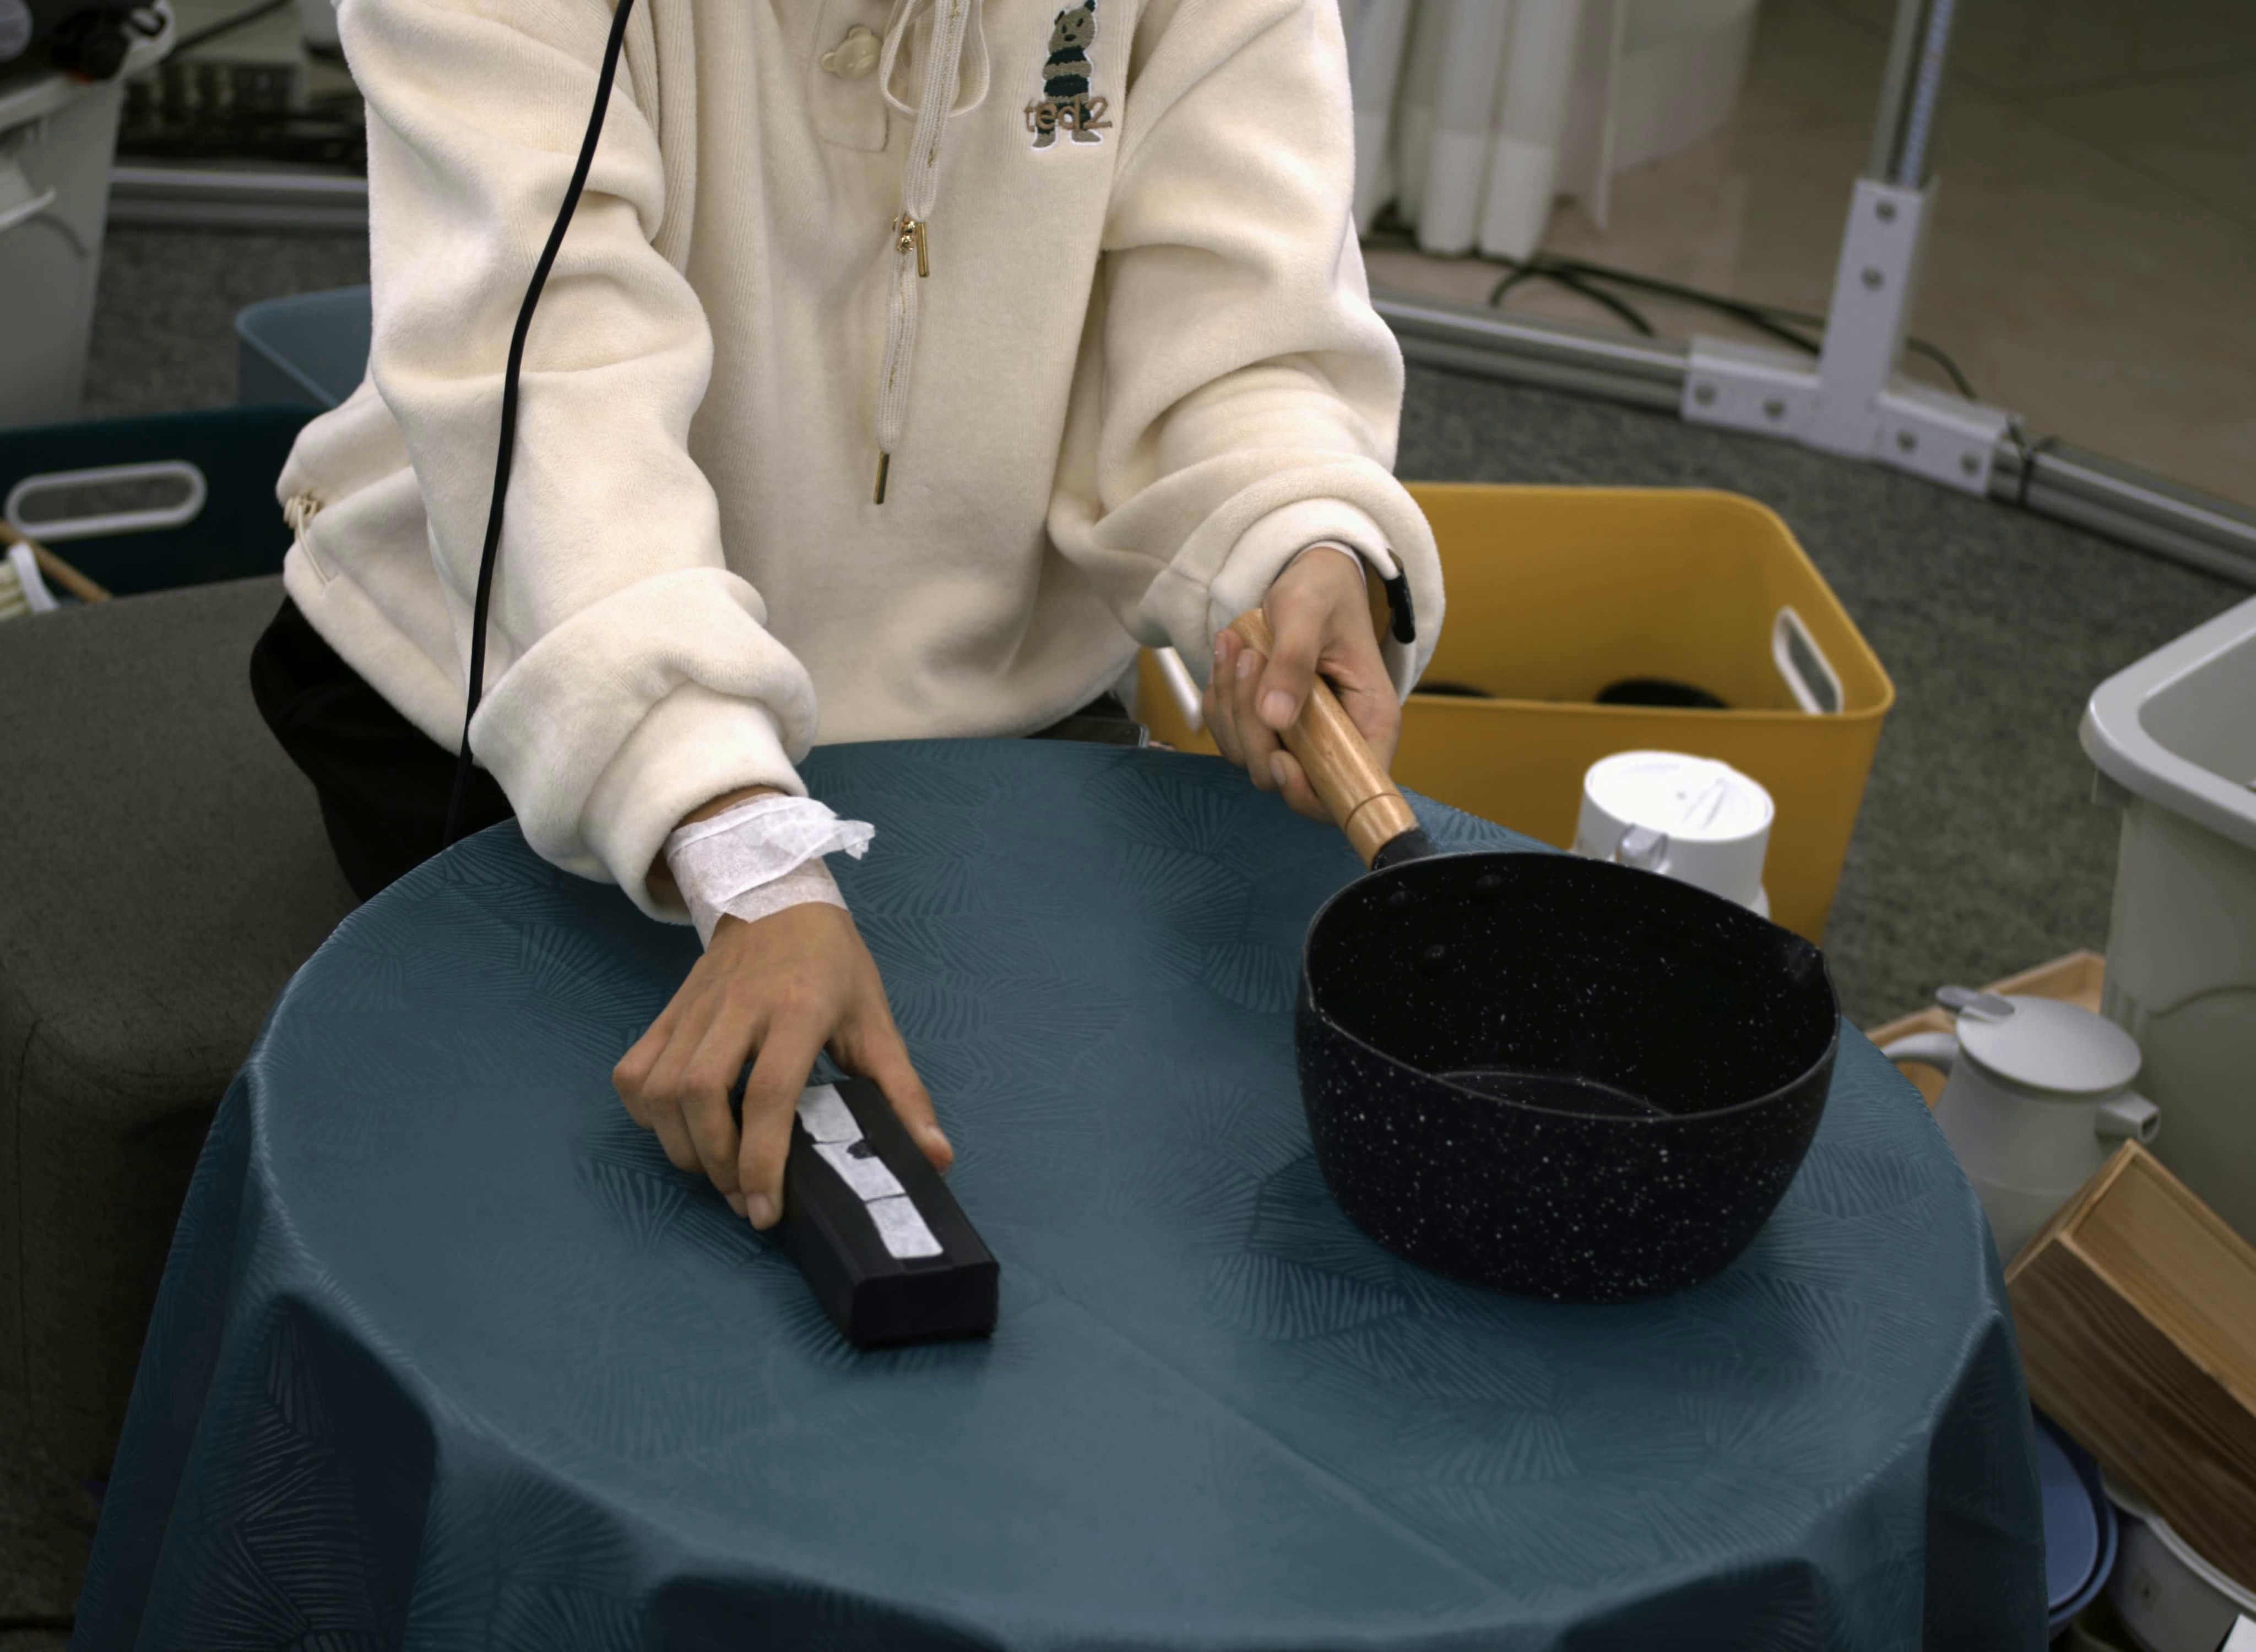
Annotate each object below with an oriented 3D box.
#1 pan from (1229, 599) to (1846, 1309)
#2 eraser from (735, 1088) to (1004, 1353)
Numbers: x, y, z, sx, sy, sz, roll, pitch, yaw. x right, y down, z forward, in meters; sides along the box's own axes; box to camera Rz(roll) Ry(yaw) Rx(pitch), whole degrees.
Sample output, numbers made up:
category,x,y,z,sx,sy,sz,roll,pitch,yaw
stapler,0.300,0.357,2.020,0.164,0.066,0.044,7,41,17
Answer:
category,x,y,z,sx,sy,sz,roll,pitch,yaw
pan,0.112,0.042,1.868,0.206,0.108,0.346,-8,32,-25
eraser,-0.086,0.128,1.744,0.053,0.030,0.126,-5,28,-21
